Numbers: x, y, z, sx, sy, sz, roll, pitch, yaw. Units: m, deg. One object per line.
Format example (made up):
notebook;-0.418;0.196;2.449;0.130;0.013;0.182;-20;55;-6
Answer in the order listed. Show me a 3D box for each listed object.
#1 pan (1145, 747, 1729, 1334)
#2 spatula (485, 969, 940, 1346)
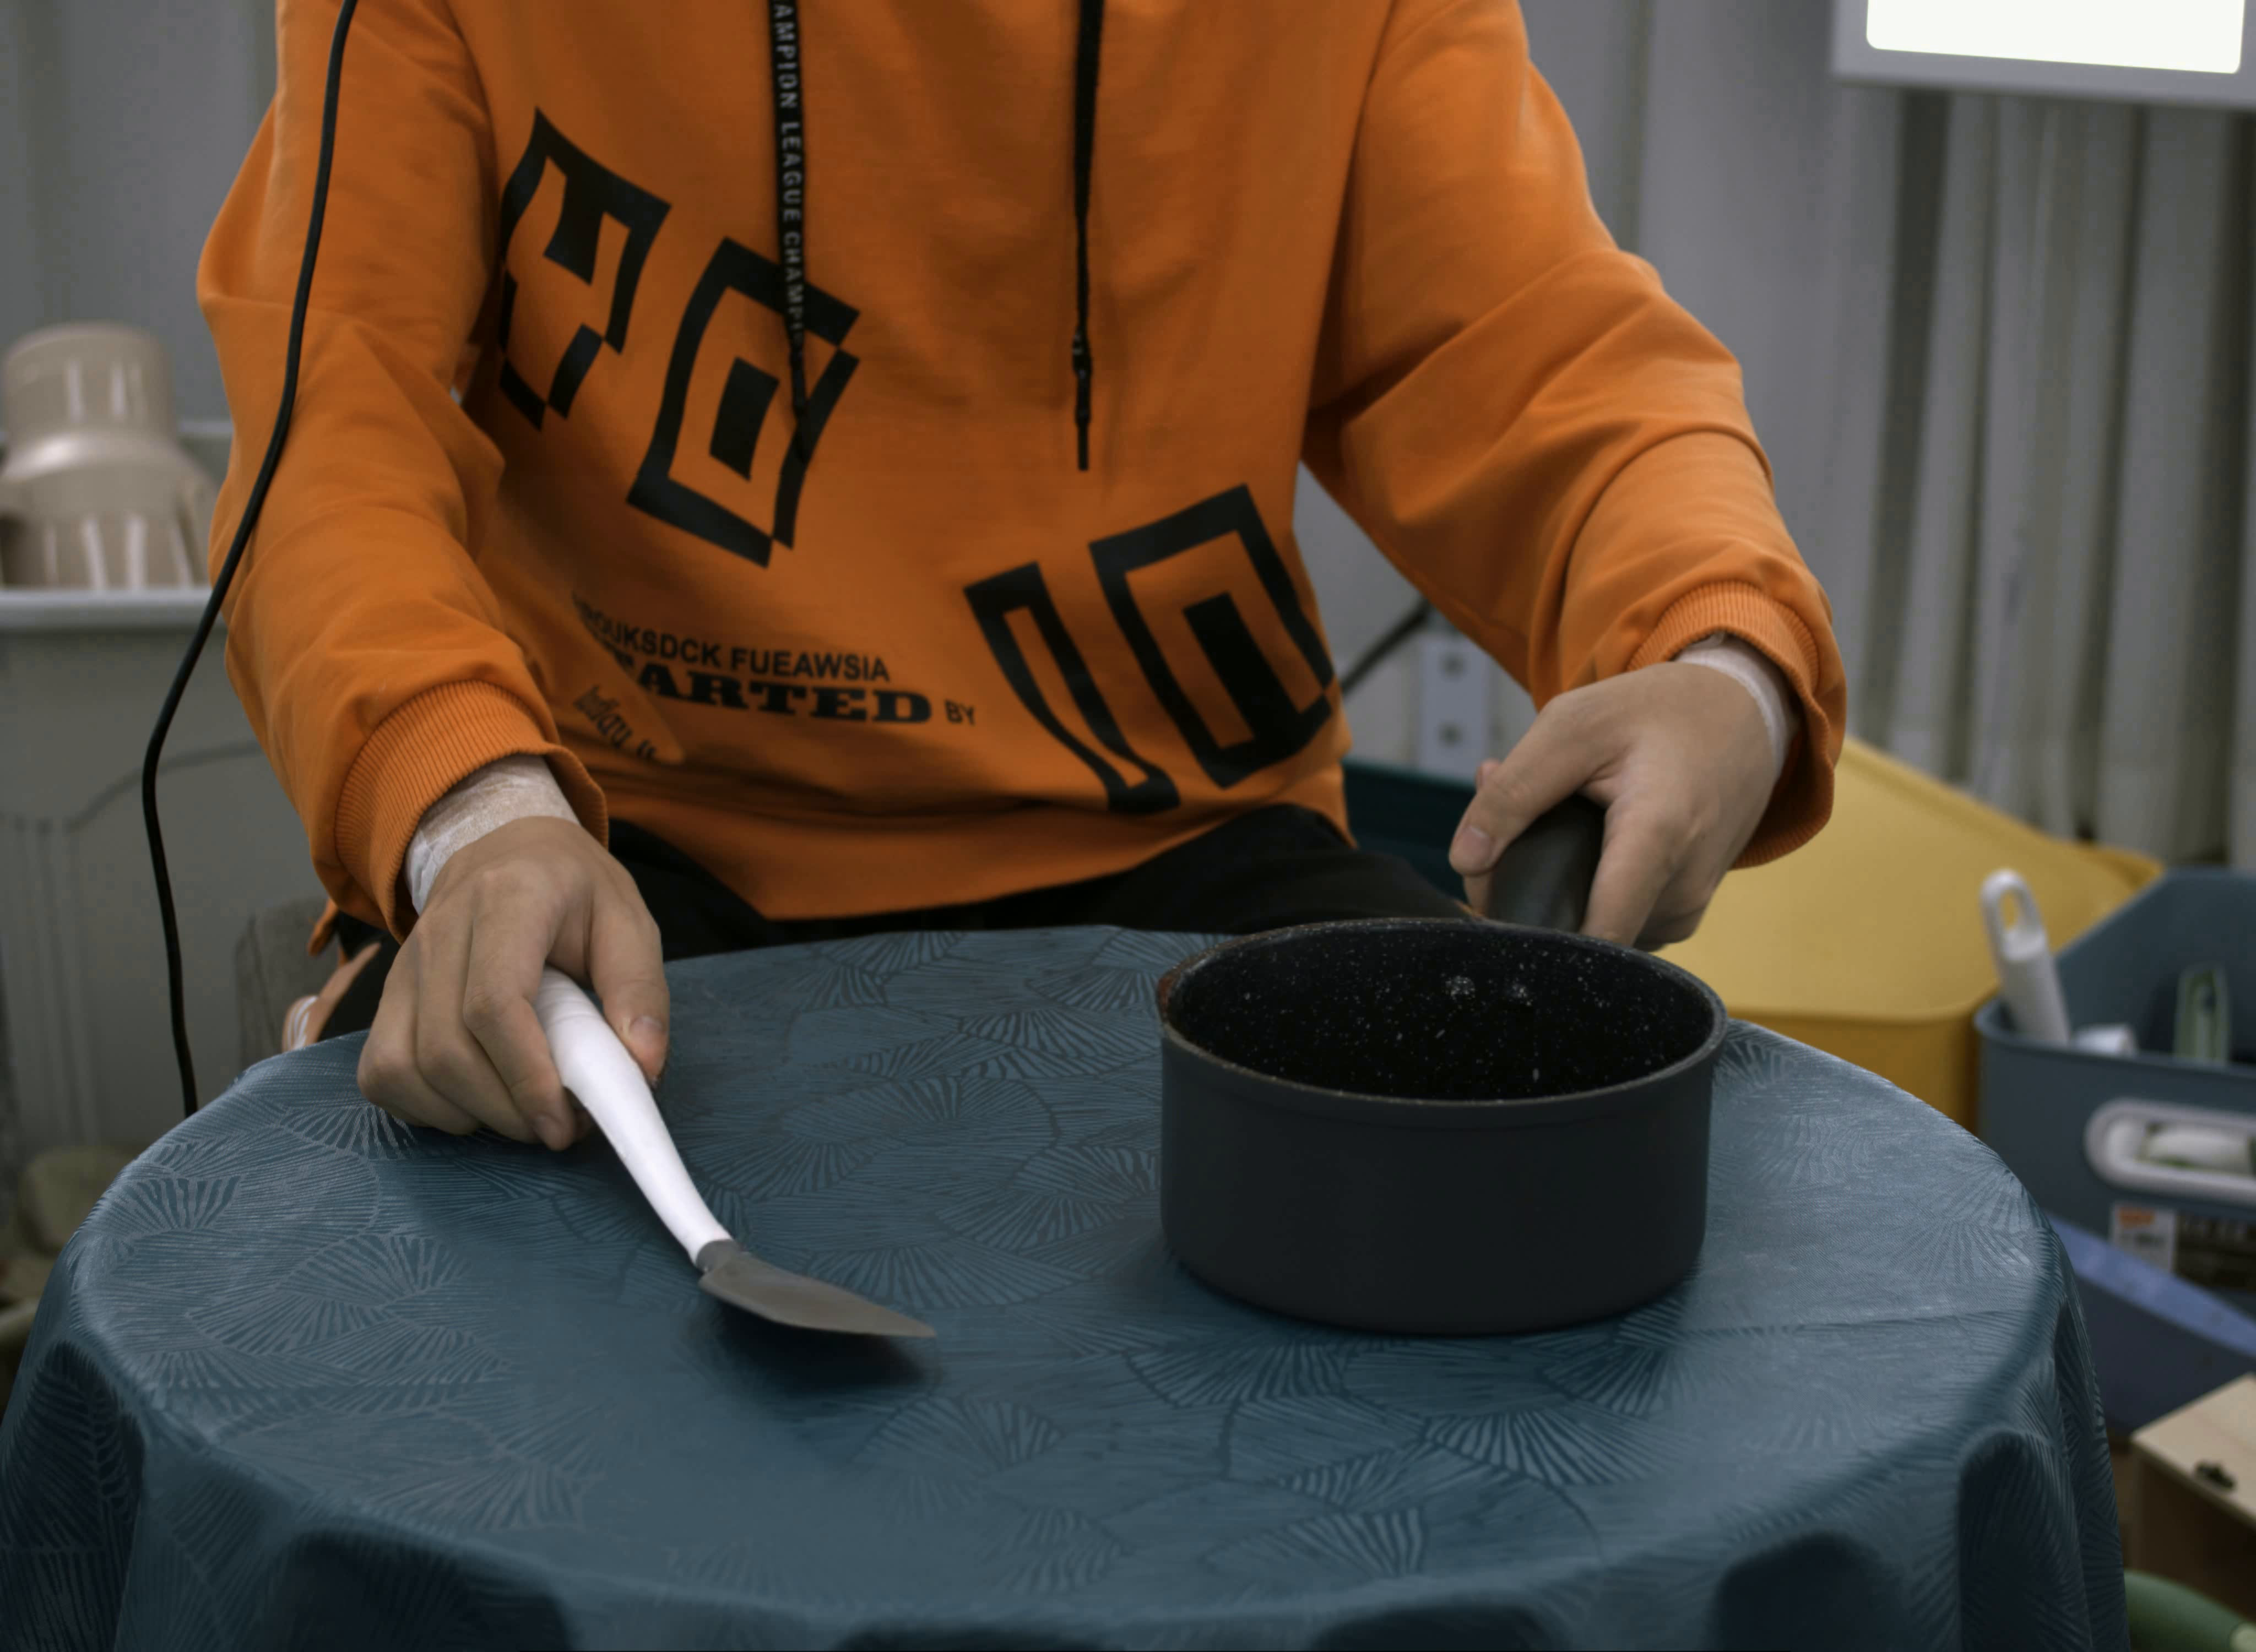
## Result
pan;0.115;0.062;1.636;0.170;0.087;0.328;6;20;17
spatula;-0.133;0.105;1.572;0.059;0.032;0.284;14;12;-29
